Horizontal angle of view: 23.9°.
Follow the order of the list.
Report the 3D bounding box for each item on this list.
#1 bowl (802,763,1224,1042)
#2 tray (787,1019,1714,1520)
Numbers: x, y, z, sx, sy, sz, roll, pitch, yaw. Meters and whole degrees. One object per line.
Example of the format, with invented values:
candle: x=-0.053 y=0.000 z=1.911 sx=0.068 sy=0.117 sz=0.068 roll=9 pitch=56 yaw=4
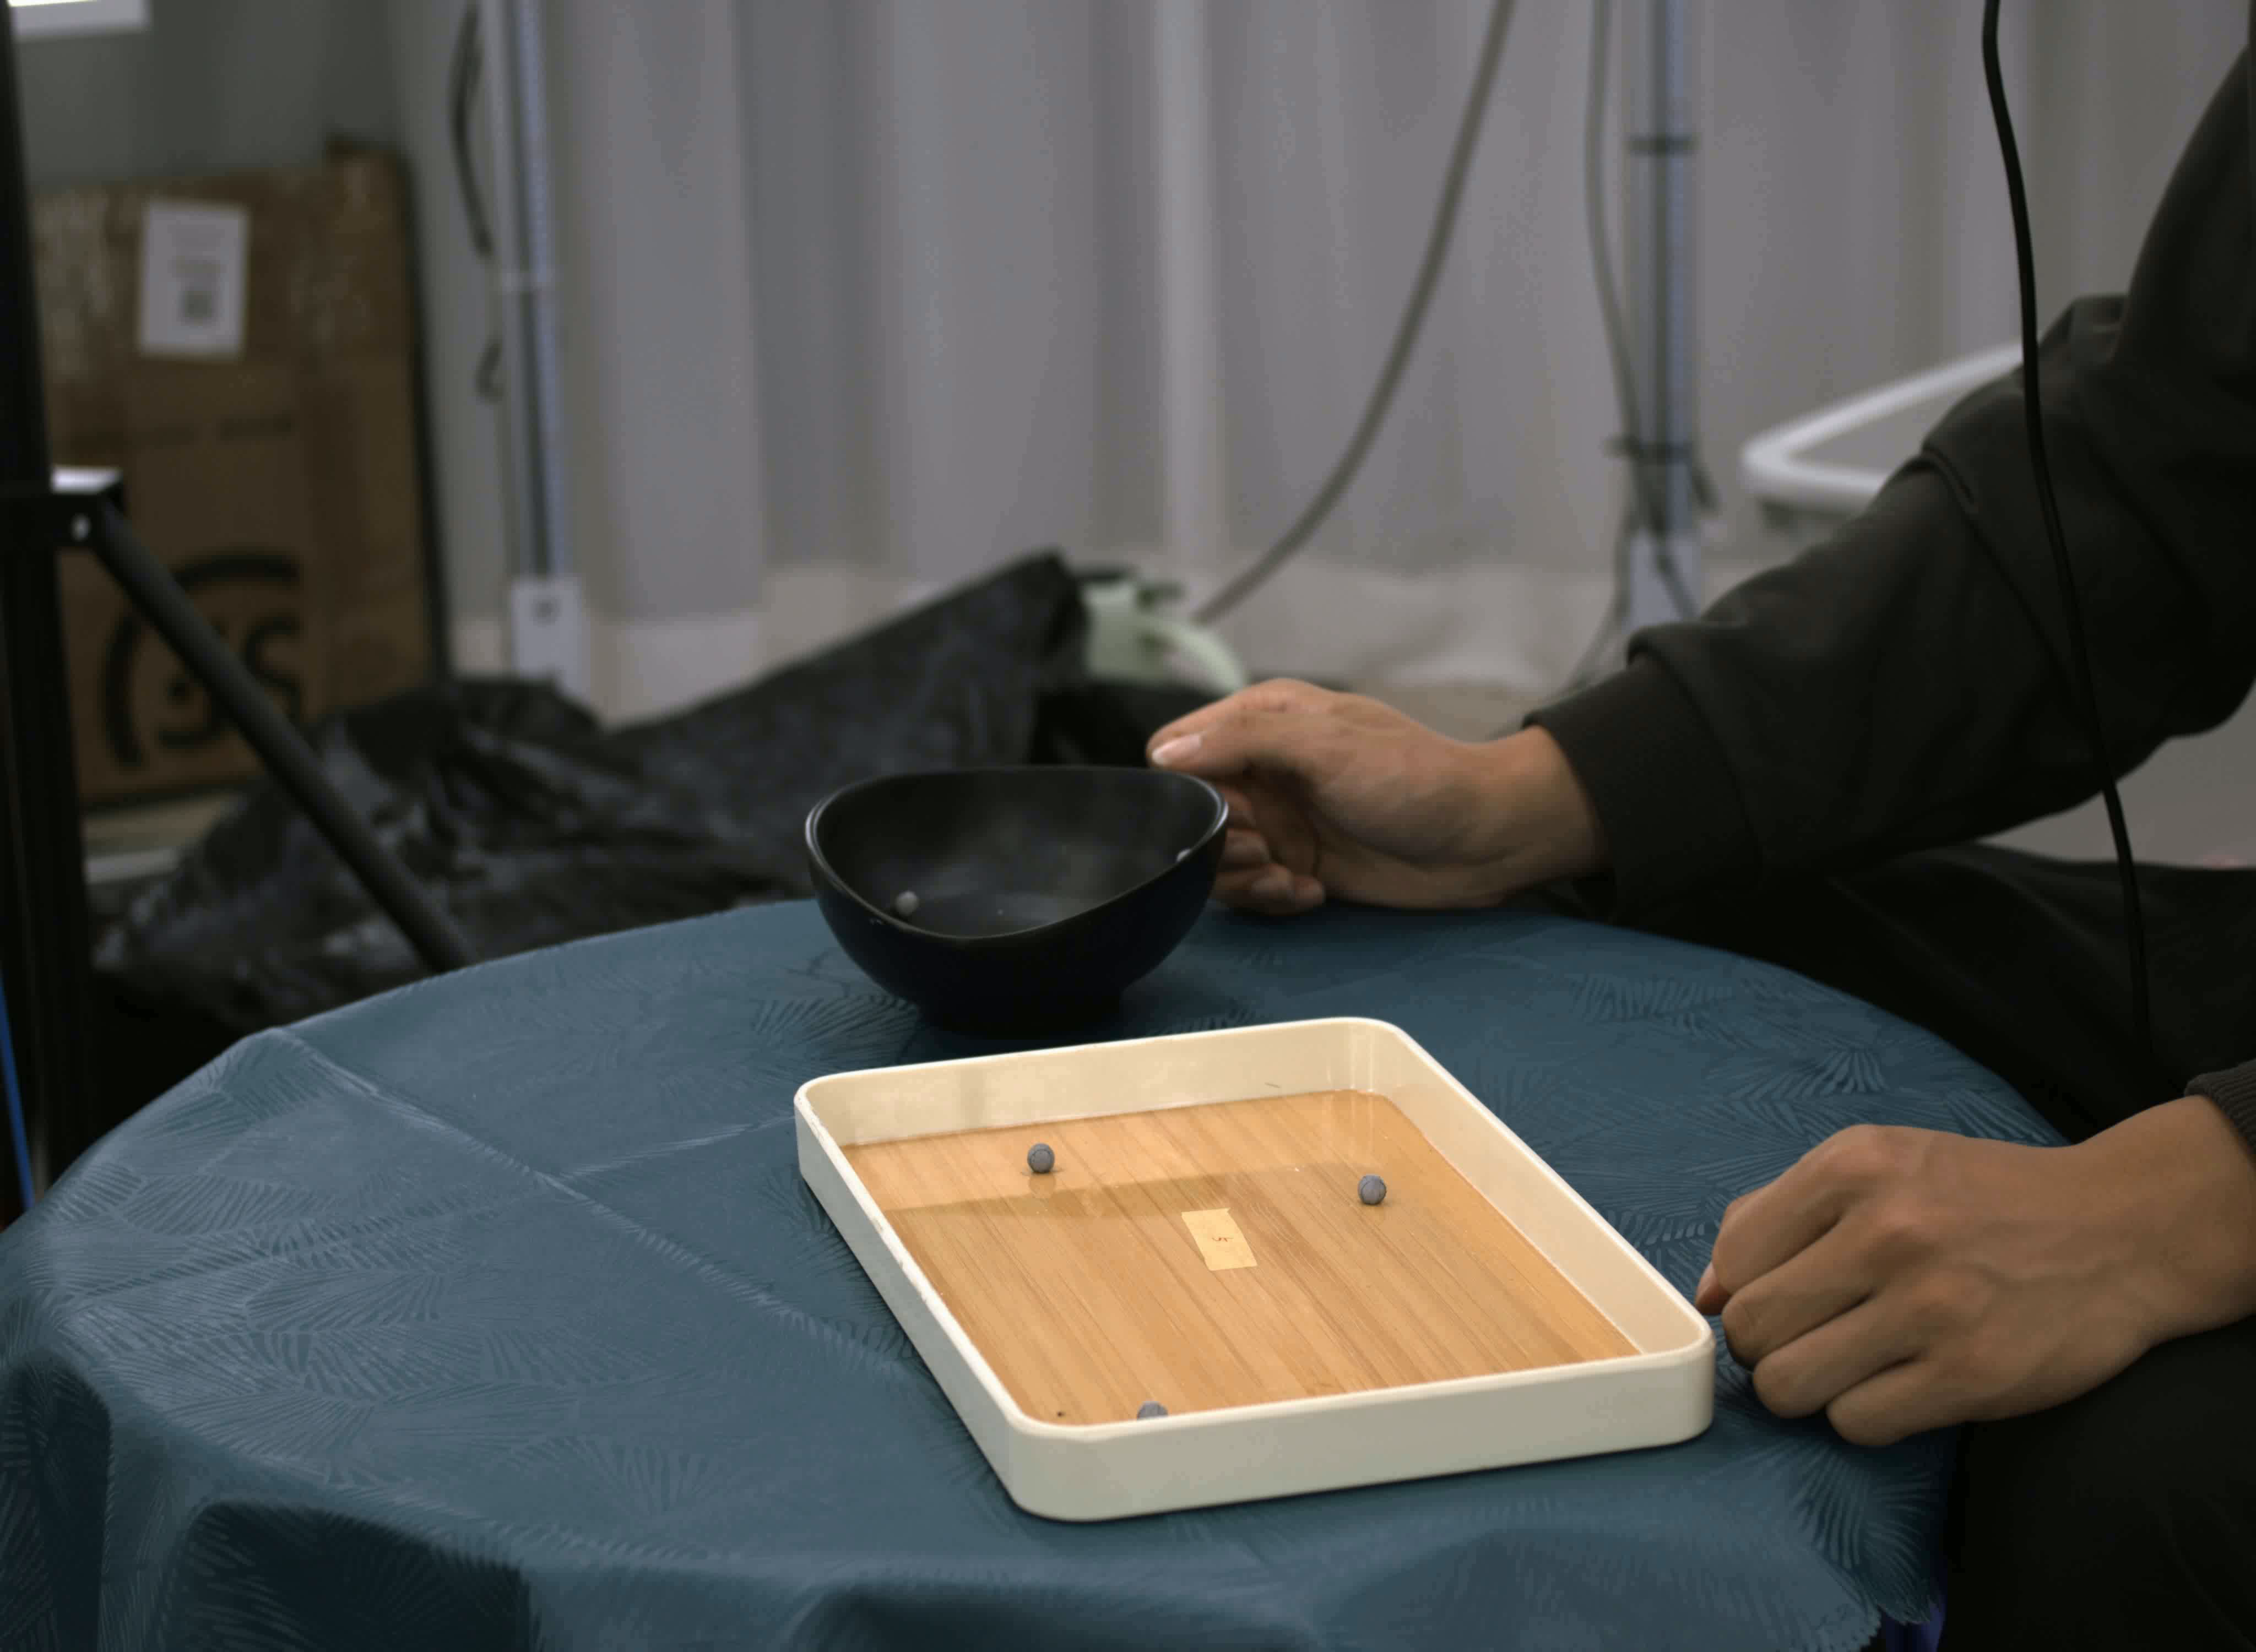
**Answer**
bowl: x=-0.036 y=0.029 z=1.732 sx=0.137 sy=0.066 sz=0.170 roll=-1 pitch=17 yaw=8
tray: x=0.026 y=0.117 z=1.476 sx=0.189 sy=0.027 sz=0.304 roll=-6 pitch=16 yaw=-13
